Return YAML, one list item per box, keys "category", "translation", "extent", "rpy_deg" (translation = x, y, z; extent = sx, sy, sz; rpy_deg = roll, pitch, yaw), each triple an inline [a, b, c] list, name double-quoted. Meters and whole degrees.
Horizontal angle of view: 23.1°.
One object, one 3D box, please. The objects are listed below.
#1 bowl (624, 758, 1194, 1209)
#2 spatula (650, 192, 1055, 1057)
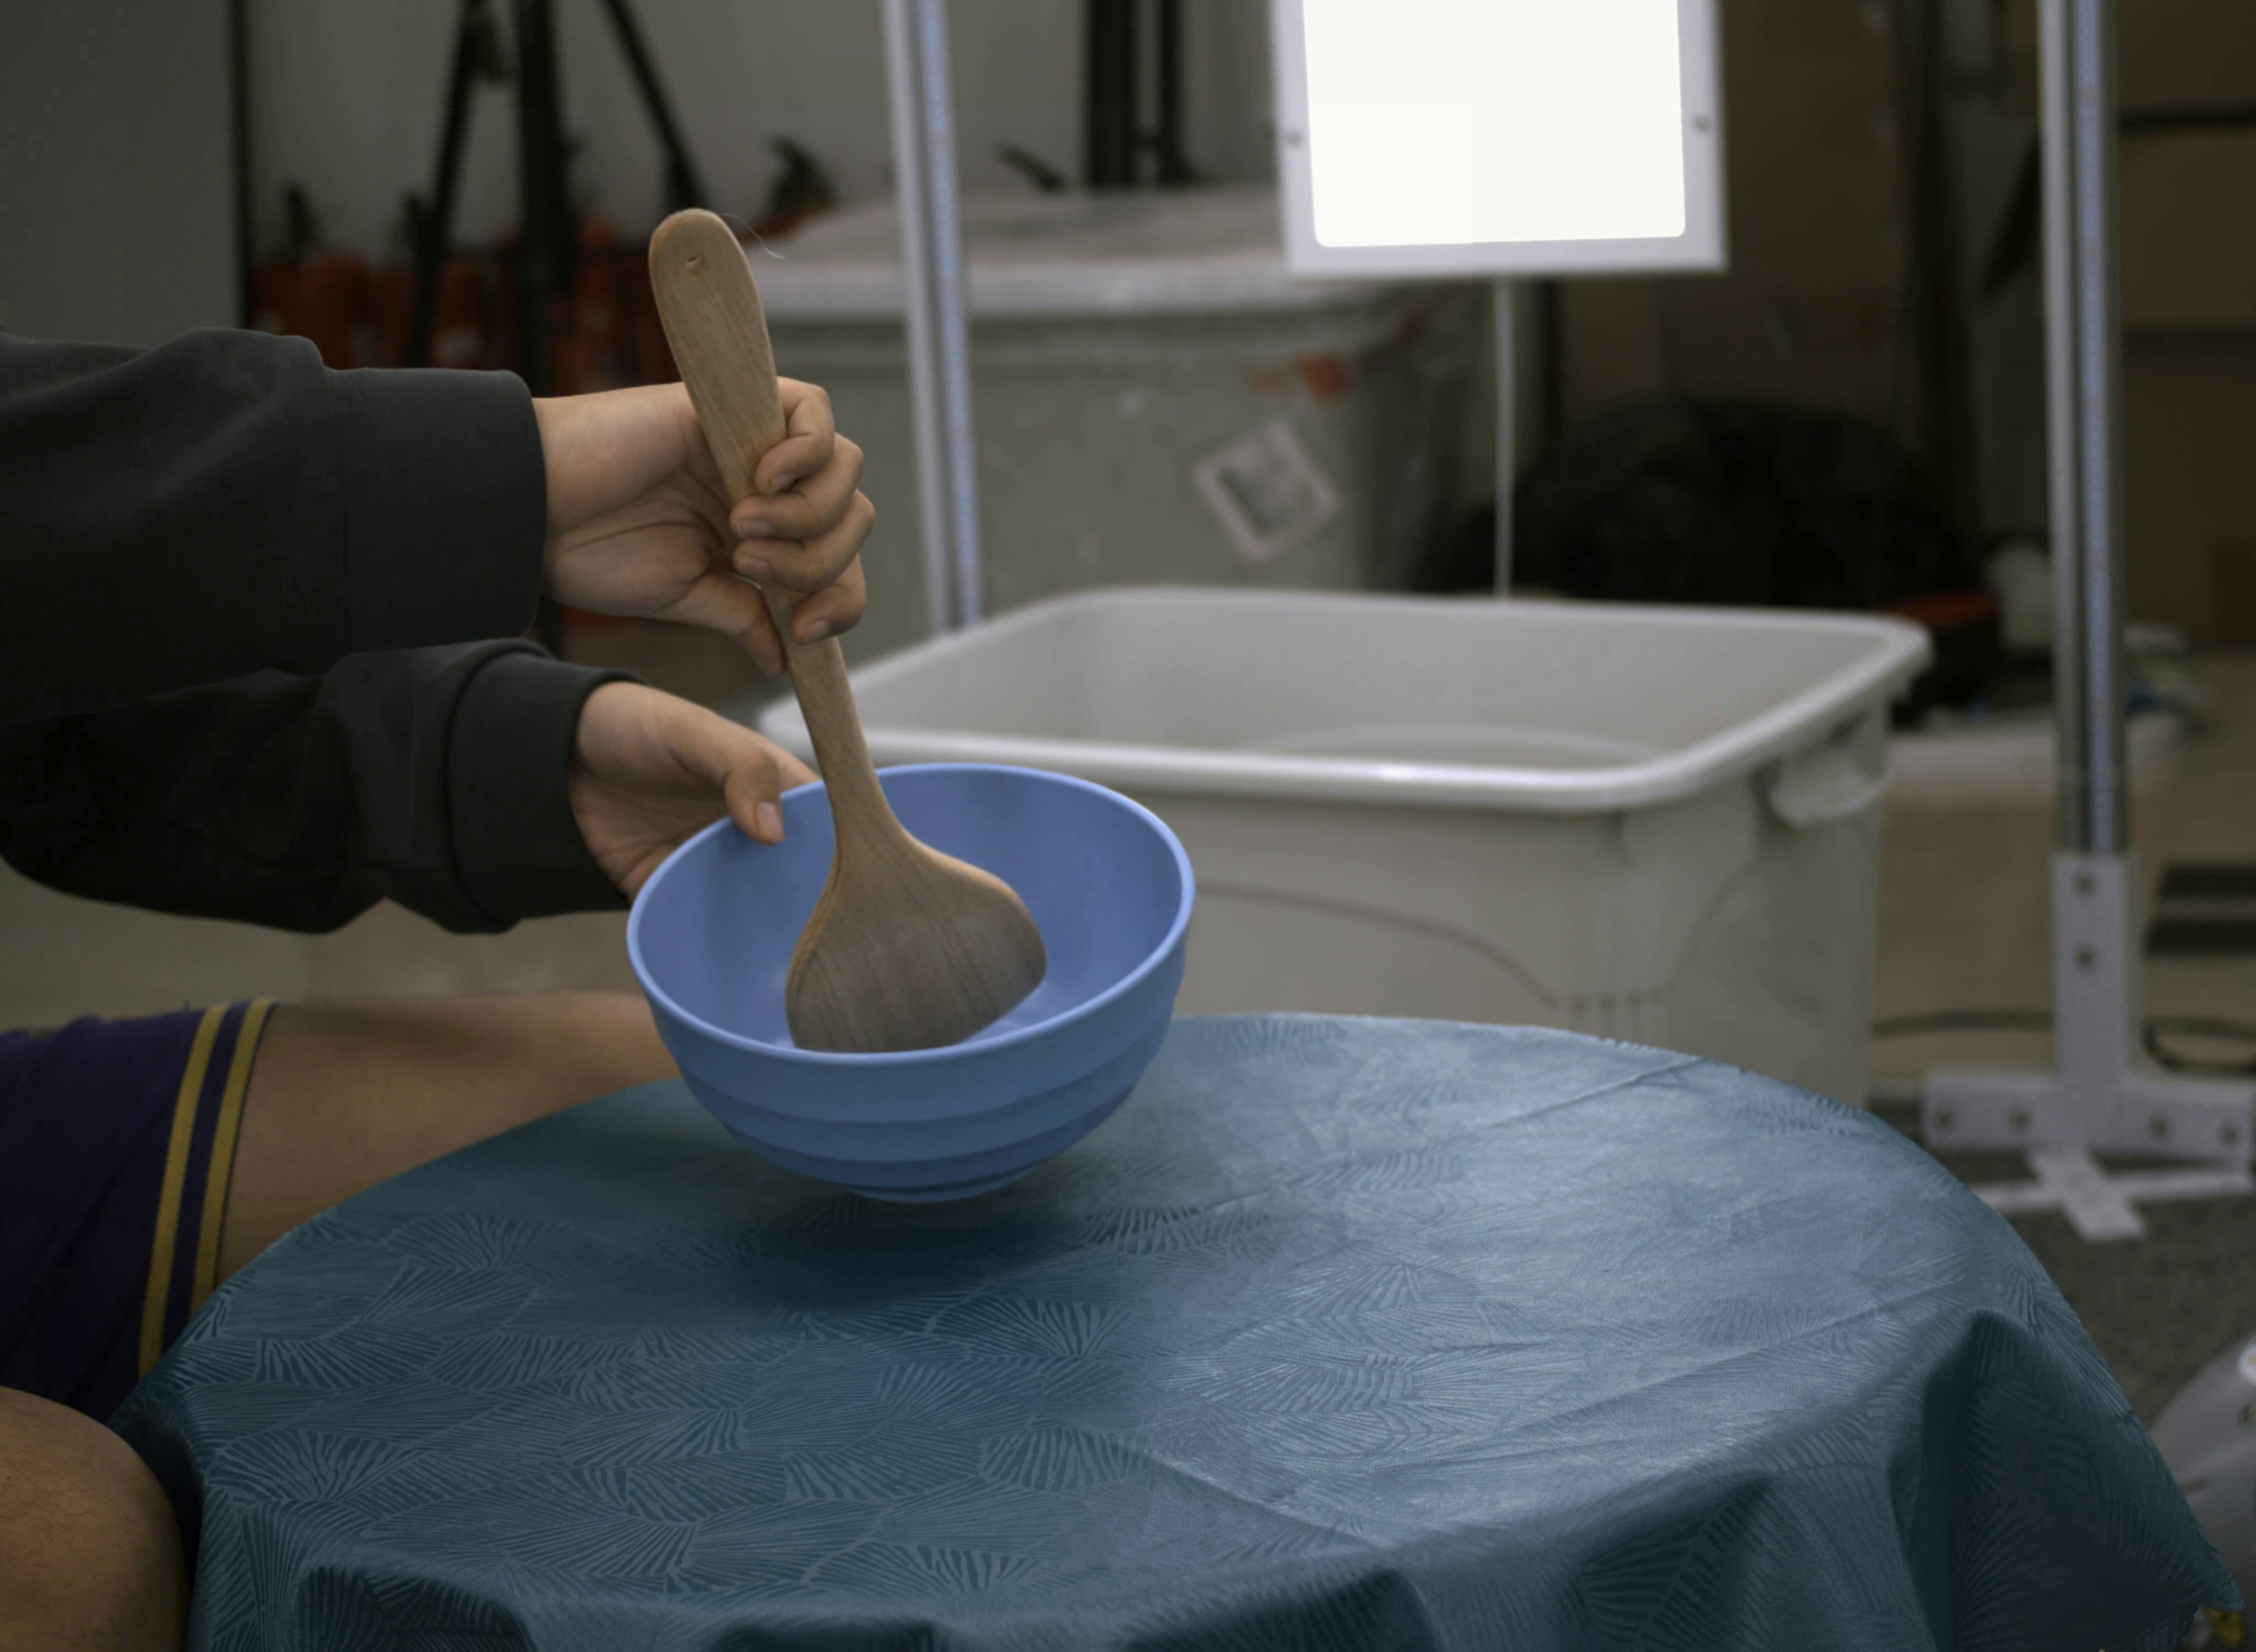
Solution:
- category: "bowl"
  translation: [-0.072, 0.068, 1.907]
  extent: [0.196, 0.096, 0.196]
  rpy_deg: [-5, 32, 2]
- category: "spatula"
  translation: [-0.096, -0.055, 1.792]
  extent: [0.095, 0.390, 0.018]
  rpy_deg: [-23, 44, -9]
